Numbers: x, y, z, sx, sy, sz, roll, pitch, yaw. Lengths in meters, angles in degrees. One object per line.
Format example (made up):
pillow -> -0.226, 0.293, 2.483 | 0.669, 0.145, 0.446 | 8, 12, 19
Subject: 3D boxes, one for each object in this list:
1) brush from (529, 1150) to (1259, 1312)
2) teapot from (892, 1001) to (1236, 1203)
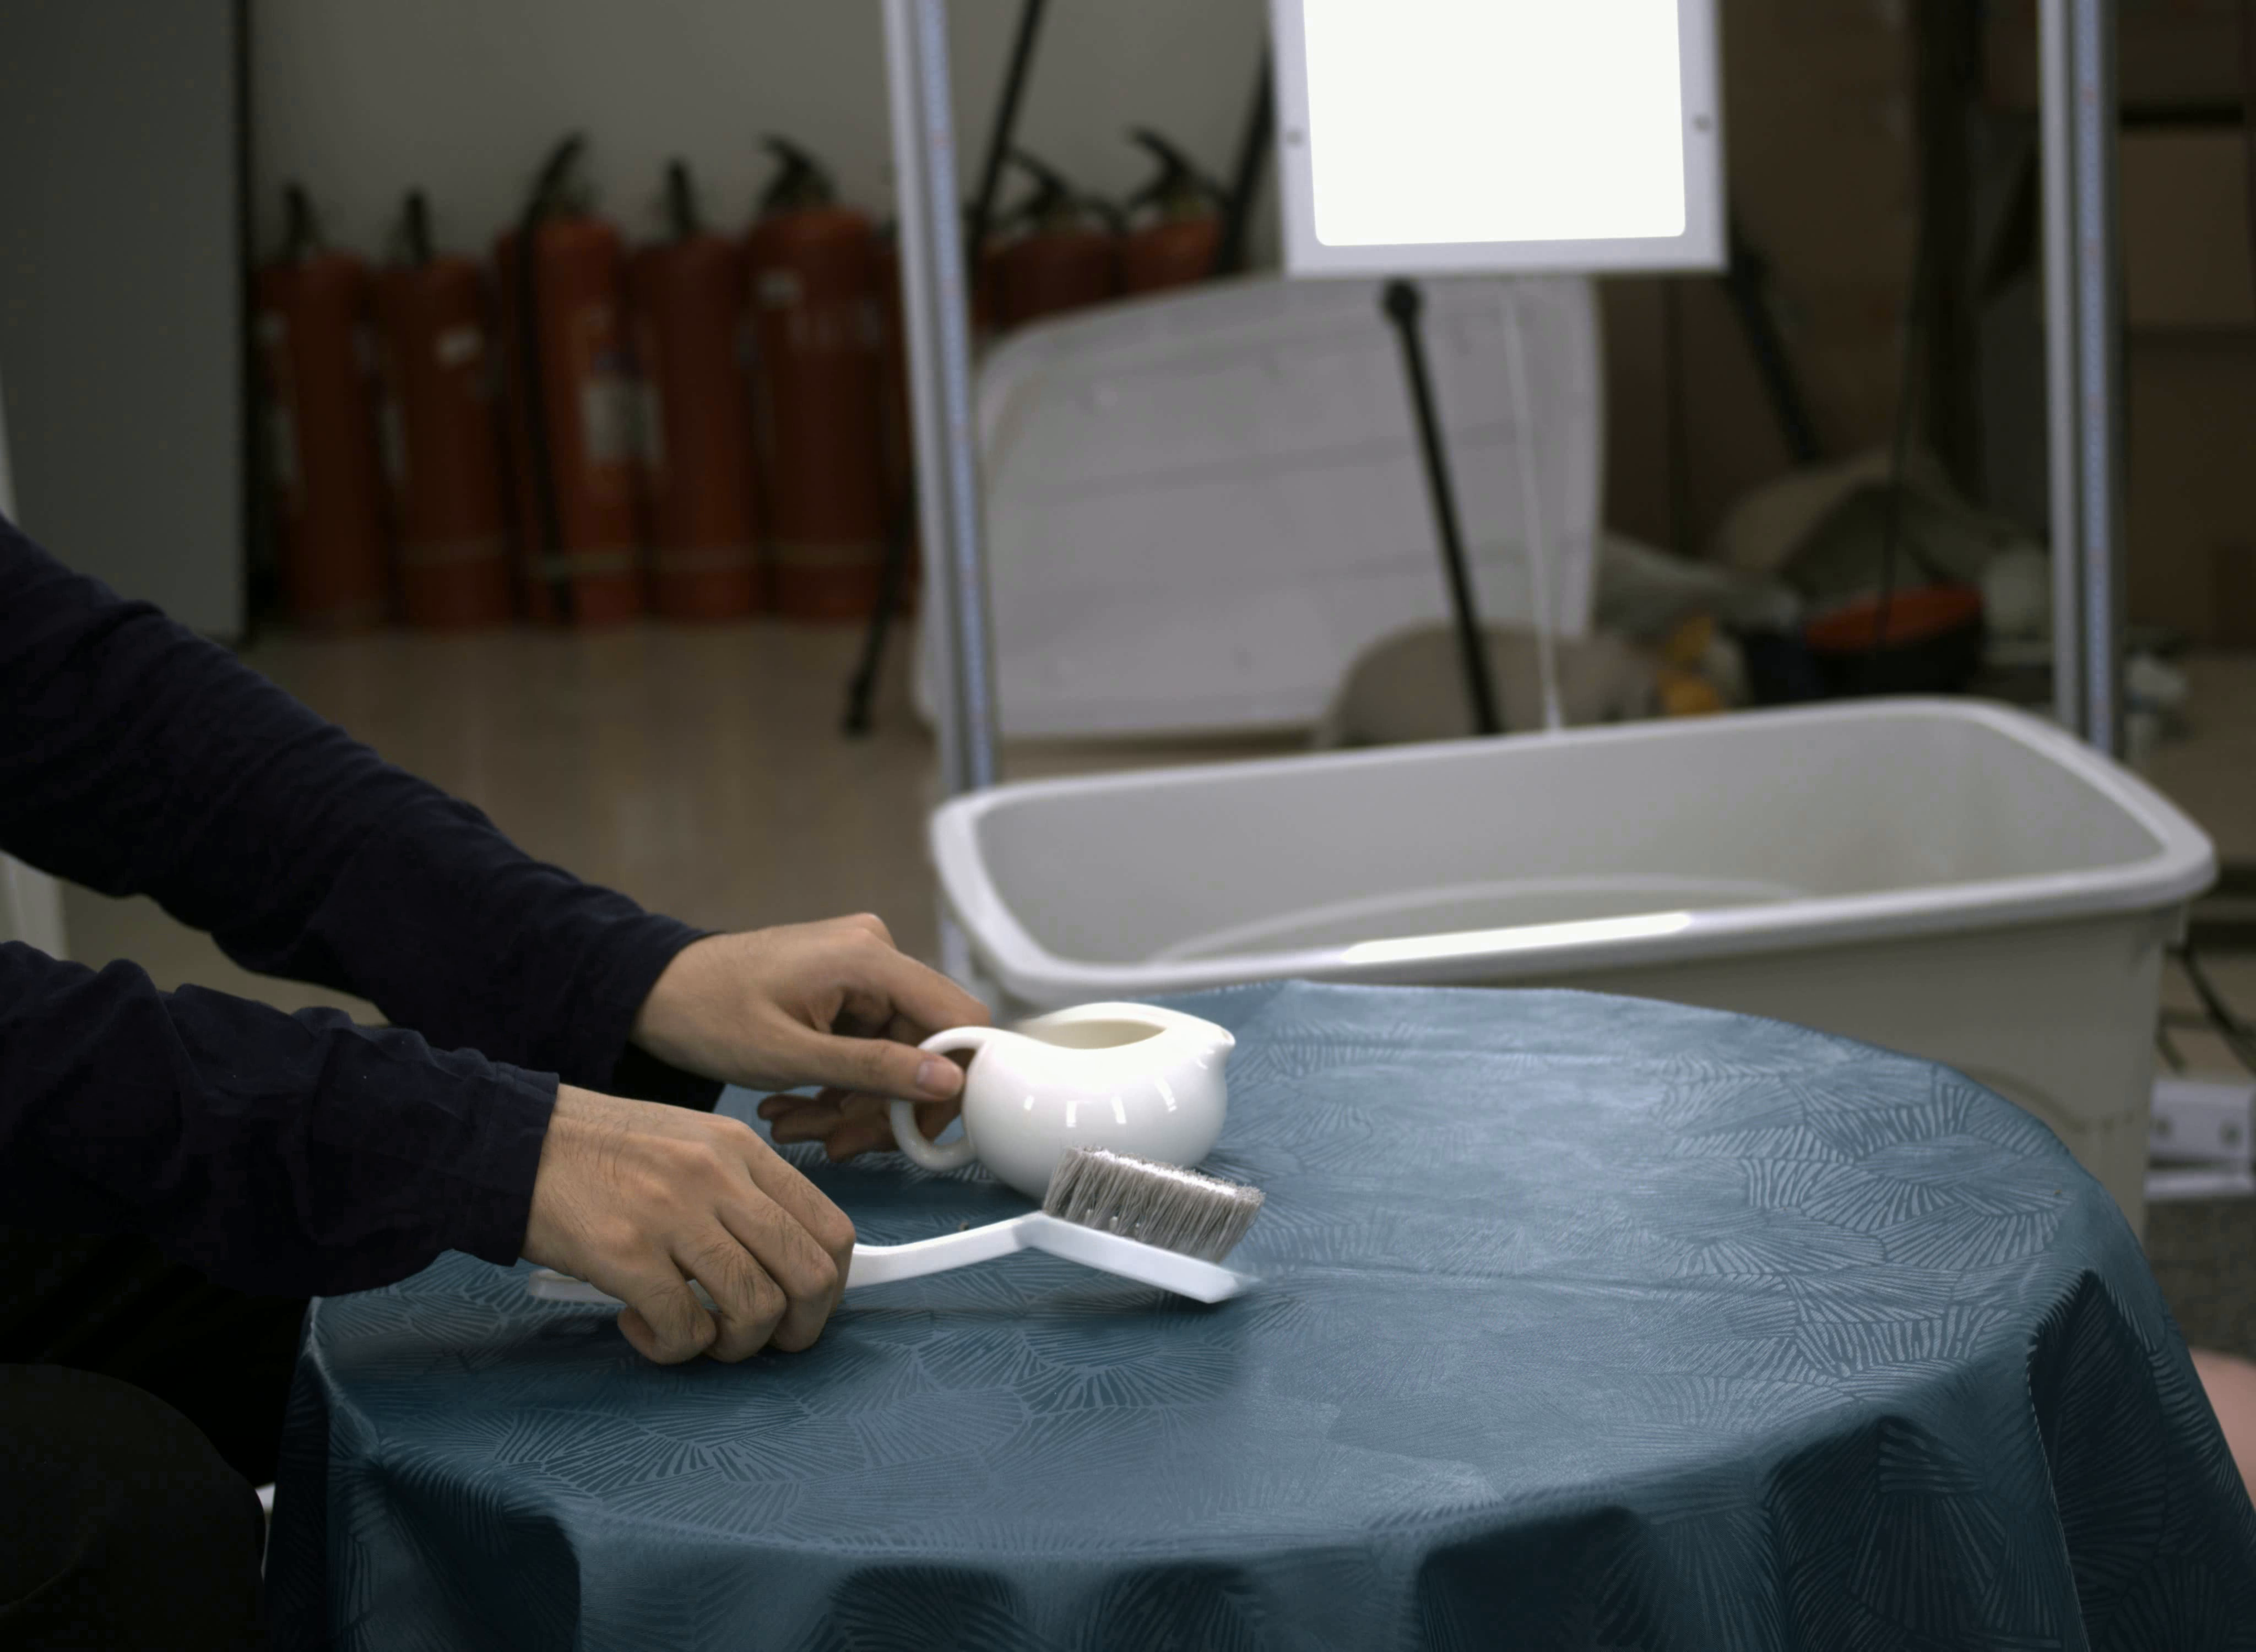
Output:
brush -> -0.078, 0.132, 1.794 | 0.245, 0.050, 0.034 | -1, 10, 13
teapot -> -0.022, 0.097, 1.917 | 0.128, 0.057, 0.092 | -4, 18, 14
